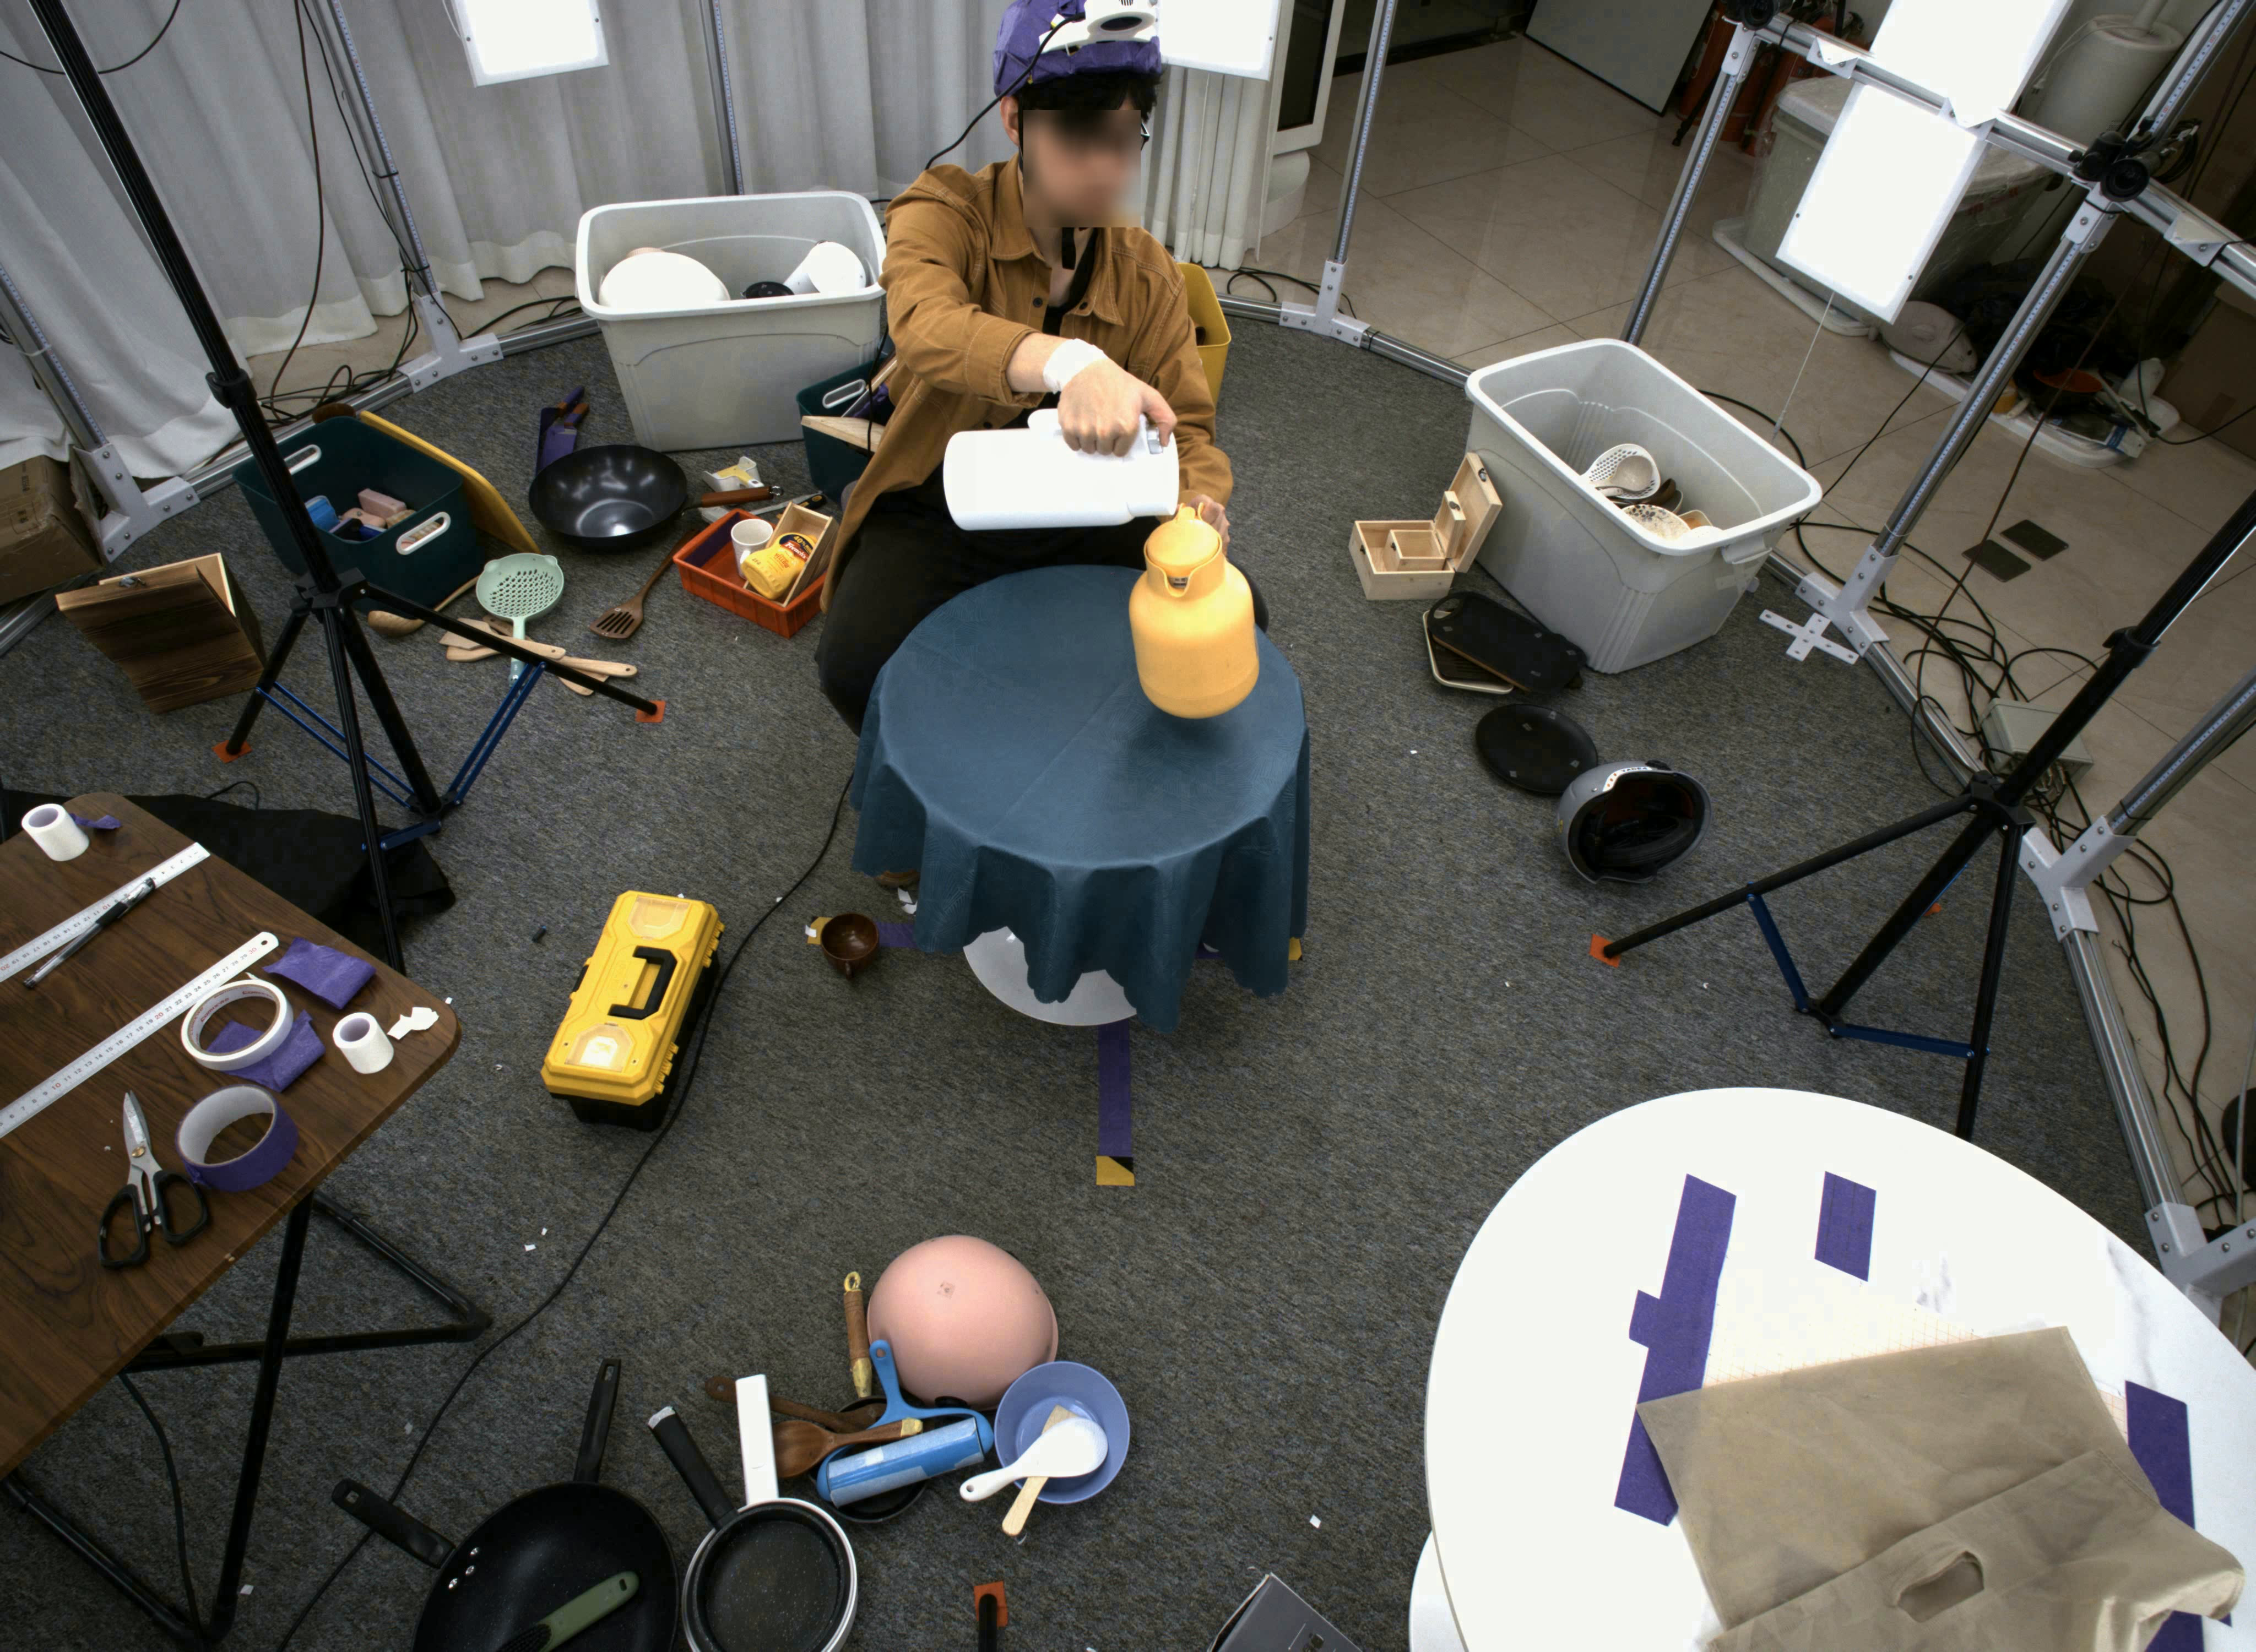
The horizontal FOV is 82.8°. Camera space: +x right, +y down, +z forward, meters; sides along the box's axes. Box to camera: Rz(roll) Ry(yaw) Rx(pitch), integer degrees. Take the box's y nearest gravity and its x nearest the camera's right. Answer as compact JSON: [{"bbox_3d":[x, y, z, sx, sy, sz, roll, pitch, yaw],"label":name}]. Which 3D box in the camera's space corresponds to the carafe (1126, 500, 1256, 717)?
[{"bbox_3d":[0.084,-0.289,1.668,0.164,0.254,0.207,5,53,11],"label":"carafe"}]

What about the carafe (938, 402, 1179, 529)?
[{"bbox_3d":[-0.084,-0.419,1.504,0.269,0.169,0.126,3,68,15],"label":"carafe"}]
